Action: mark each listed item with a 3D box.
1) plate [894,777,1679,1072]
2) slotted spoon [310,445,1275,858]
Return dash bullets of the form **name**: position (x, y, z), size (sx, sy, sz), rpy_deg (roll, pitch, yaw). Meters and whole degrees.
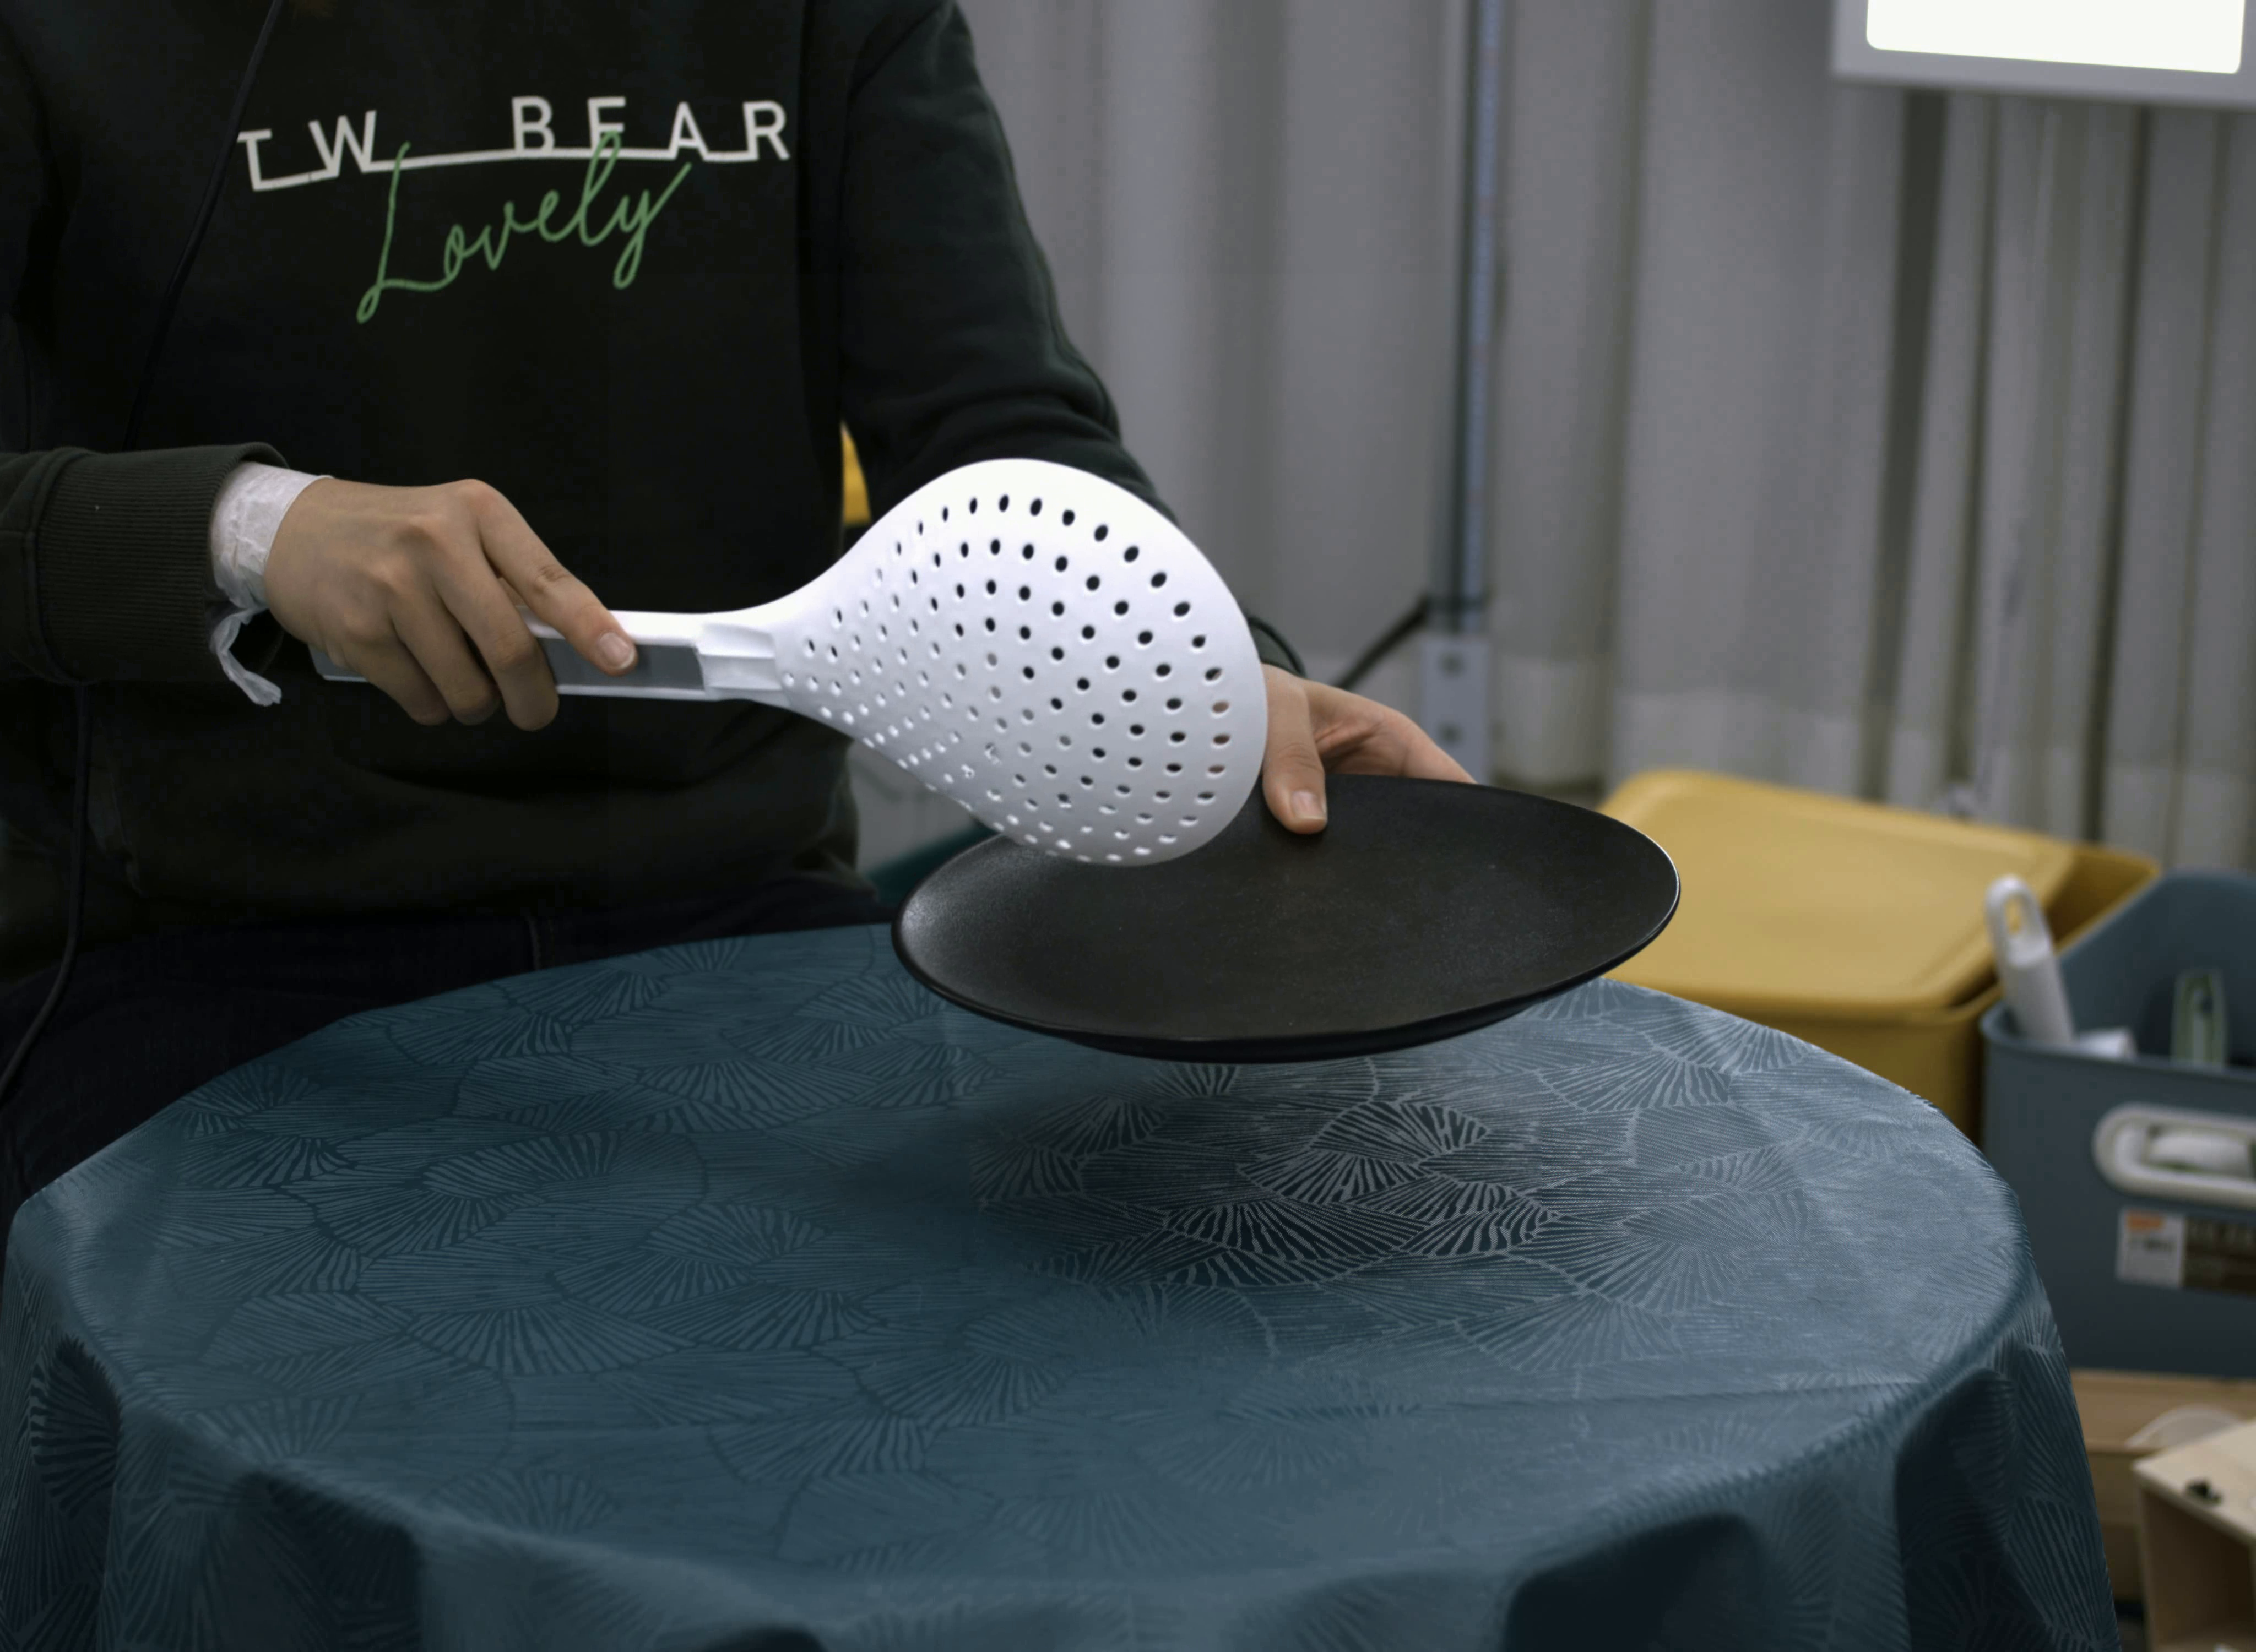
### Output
- **plate**: position (0.049, 0.032, 1.627), size (0.243, 0.023, 0.243), rpy_deg (-3, 19, 2)
- **slotted spoon**: position (-0.113, -0.053, 1.623), size (0.345, 0.137, 0.046), rpy_deg (6, 31, 34)
